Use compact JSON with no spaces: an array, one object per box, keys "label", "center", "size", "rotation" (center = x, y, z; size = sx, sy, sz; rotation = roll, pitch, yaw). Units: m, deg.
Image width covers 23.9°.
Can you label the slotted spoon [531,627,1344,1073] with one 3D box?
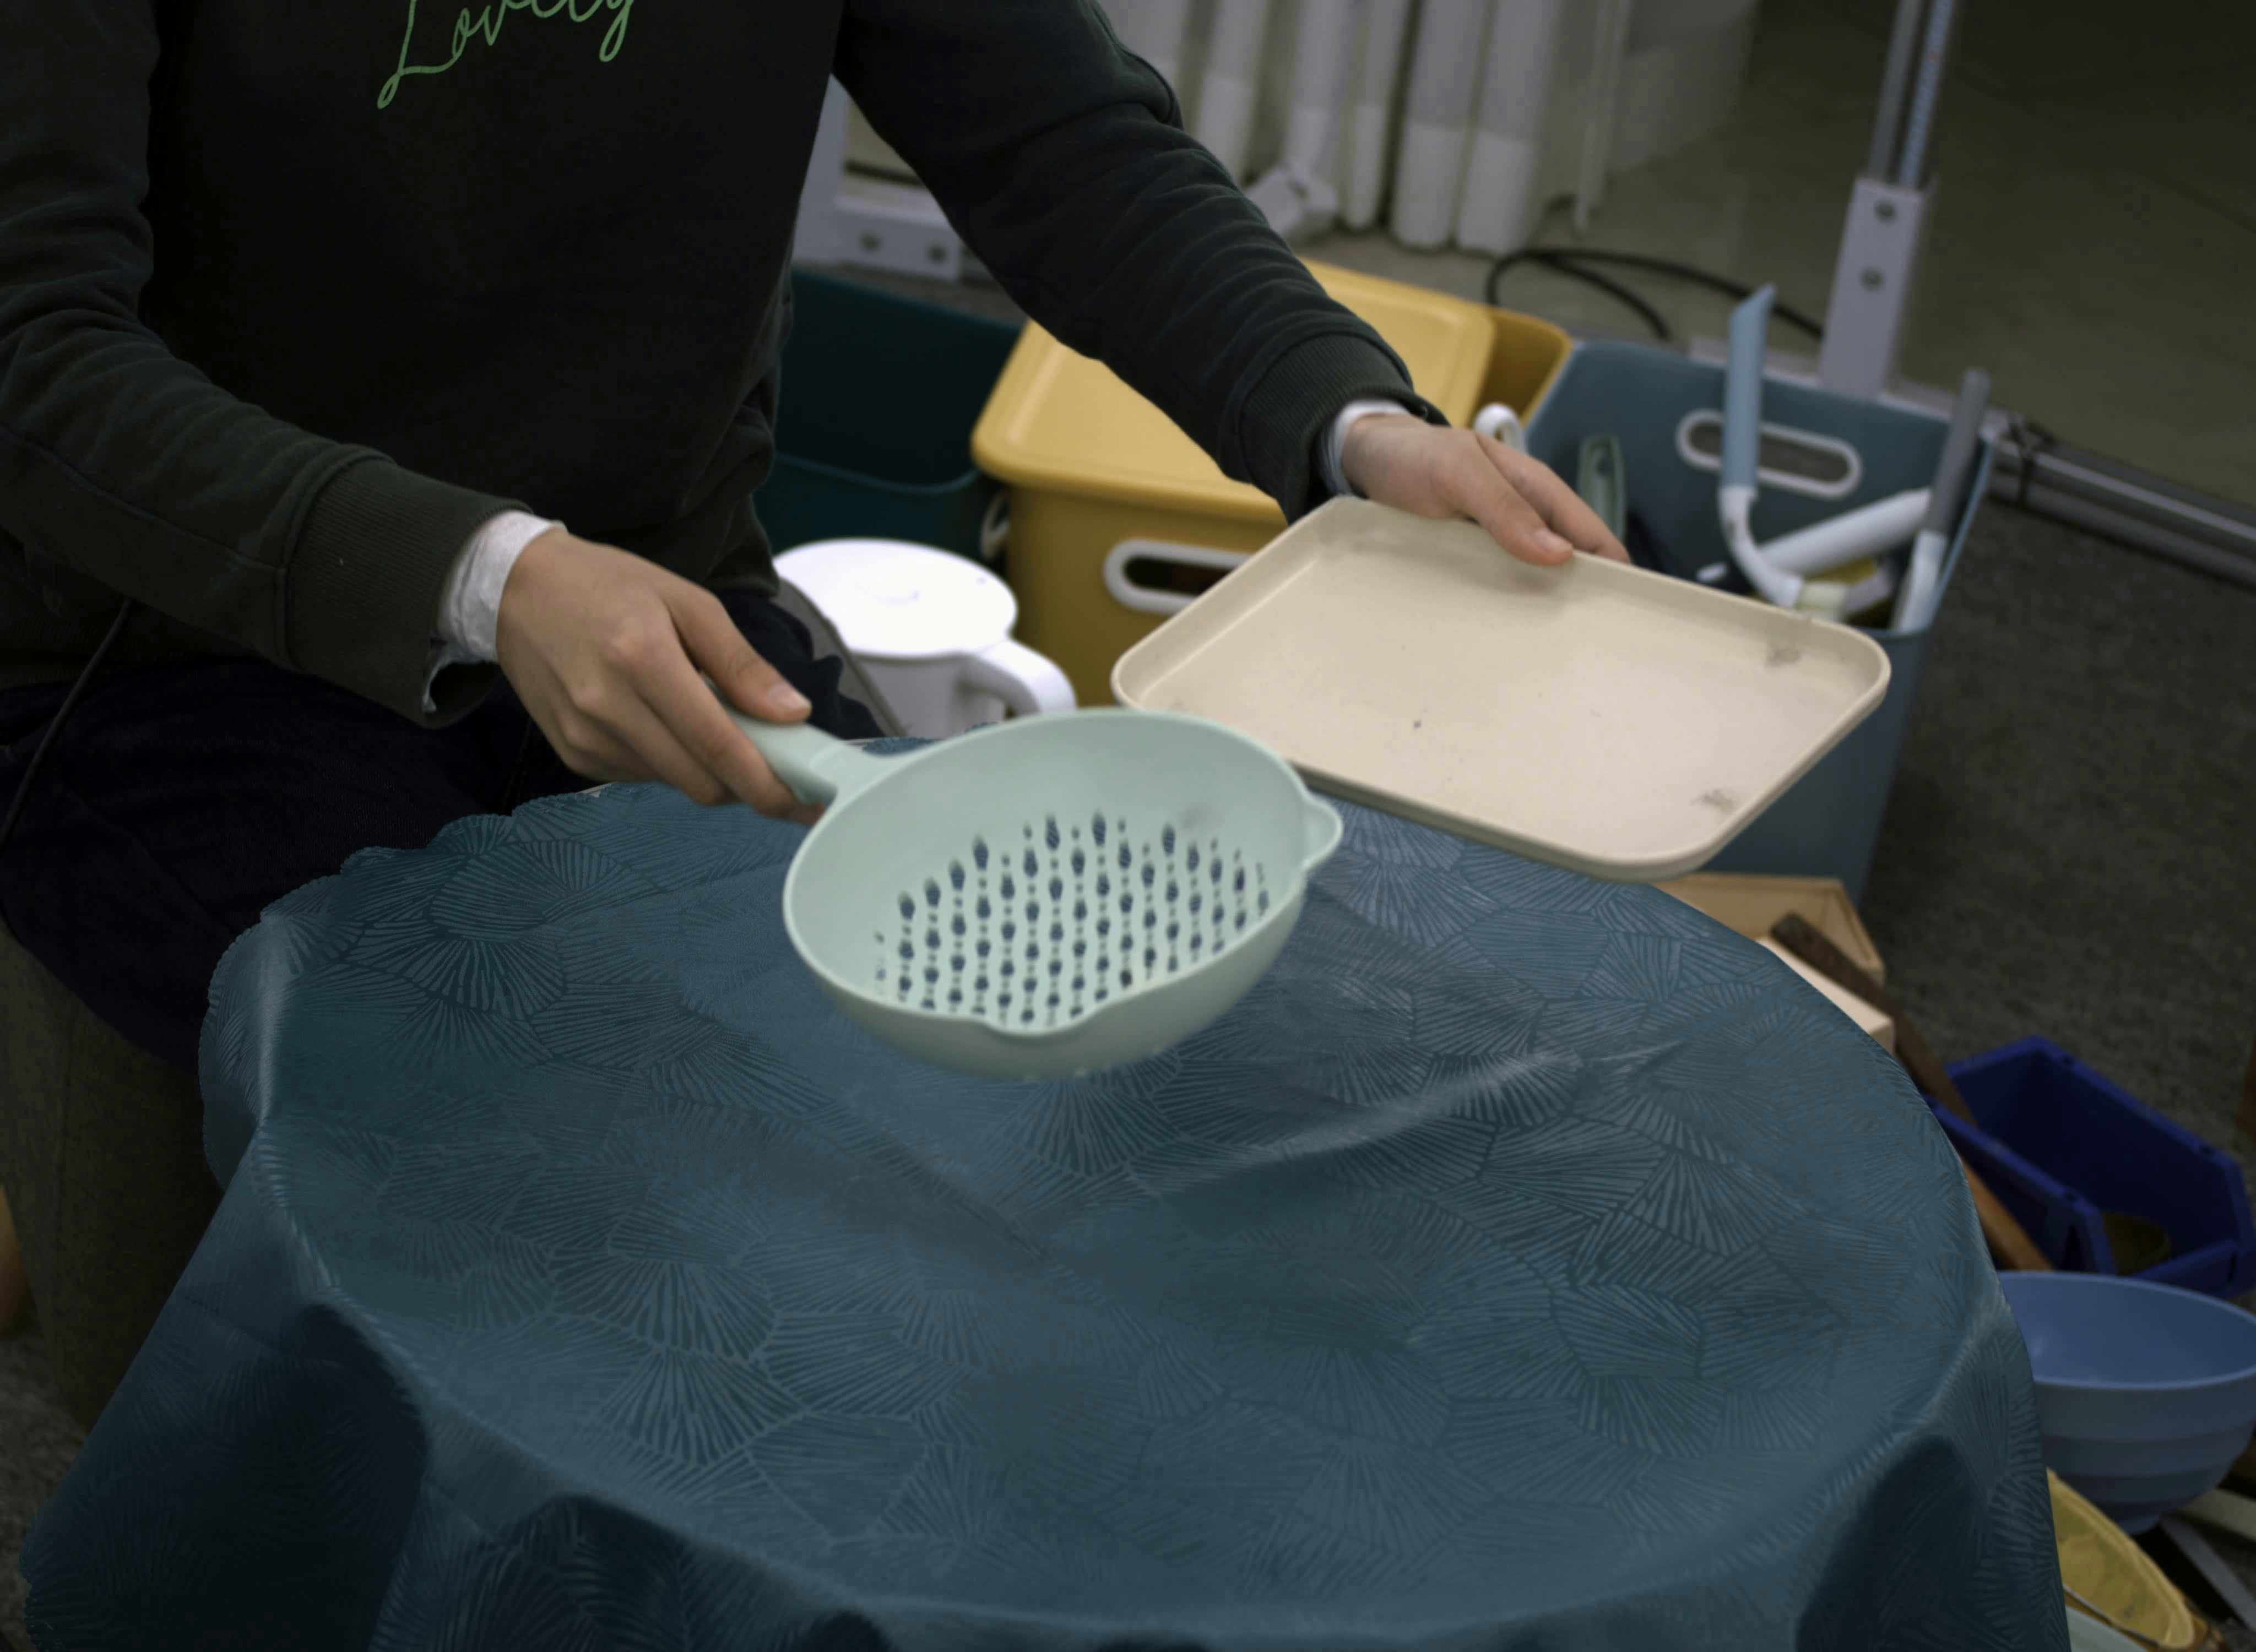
[{"label":"slotted spoon","center":[-0.087,-0.012,1.731],"size":[0.169,0.075,0.362],"rotation":[-33,45,-30]}]

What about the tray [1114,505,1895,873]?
[{"label":"tray","center":[0.128,-0.048,1.825],"size":[0.241,0.017,0.171],"rotation":[17,37,32]}]
